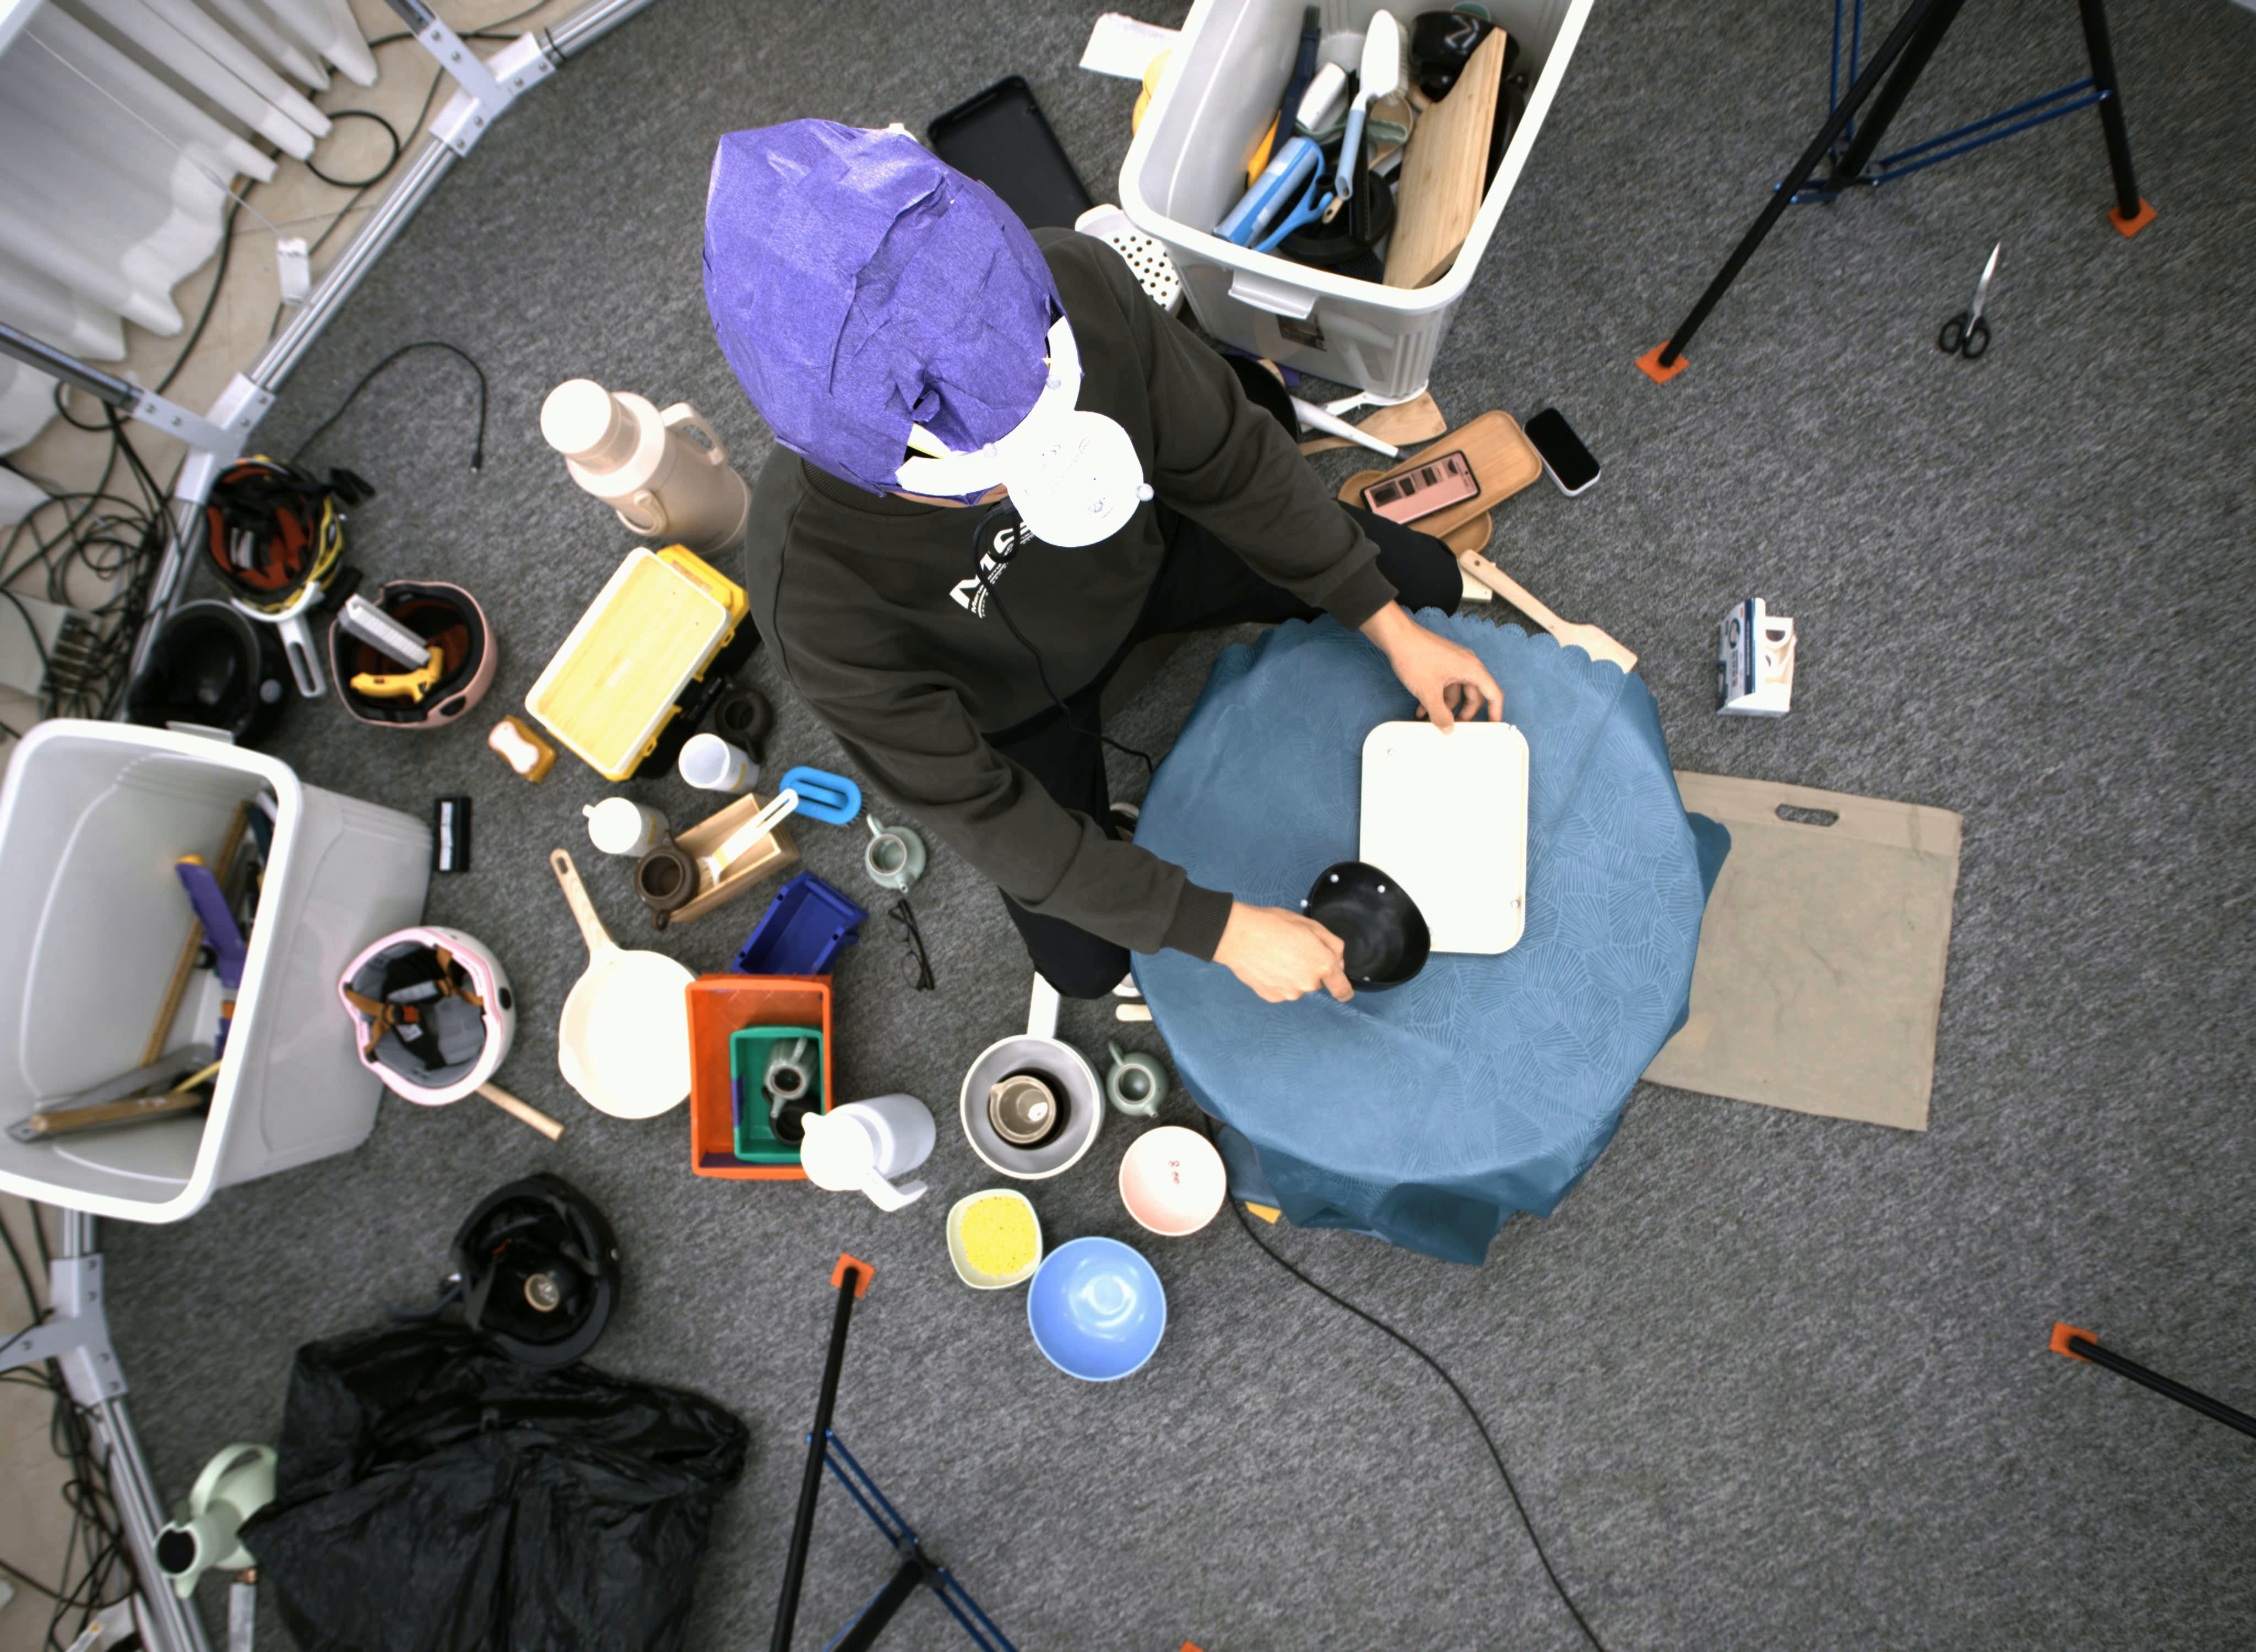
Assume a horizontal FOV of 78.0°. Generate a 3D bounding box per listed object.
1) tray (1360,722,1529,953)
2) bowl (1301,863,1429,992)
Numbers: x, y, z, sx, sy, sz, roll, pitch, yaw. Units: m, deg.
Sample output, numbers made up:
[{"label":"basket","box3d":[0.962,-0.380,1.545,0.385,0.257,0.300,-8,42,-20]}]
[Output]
[{"label":"tray","box3d":[0.329,0.009,1.435,0.172,0.017,0.239,2,90,15]},{"label":"bowl","box3d":[0.229,0.109,1.399,0.137,0.167,0.068,51,135,9]}]
